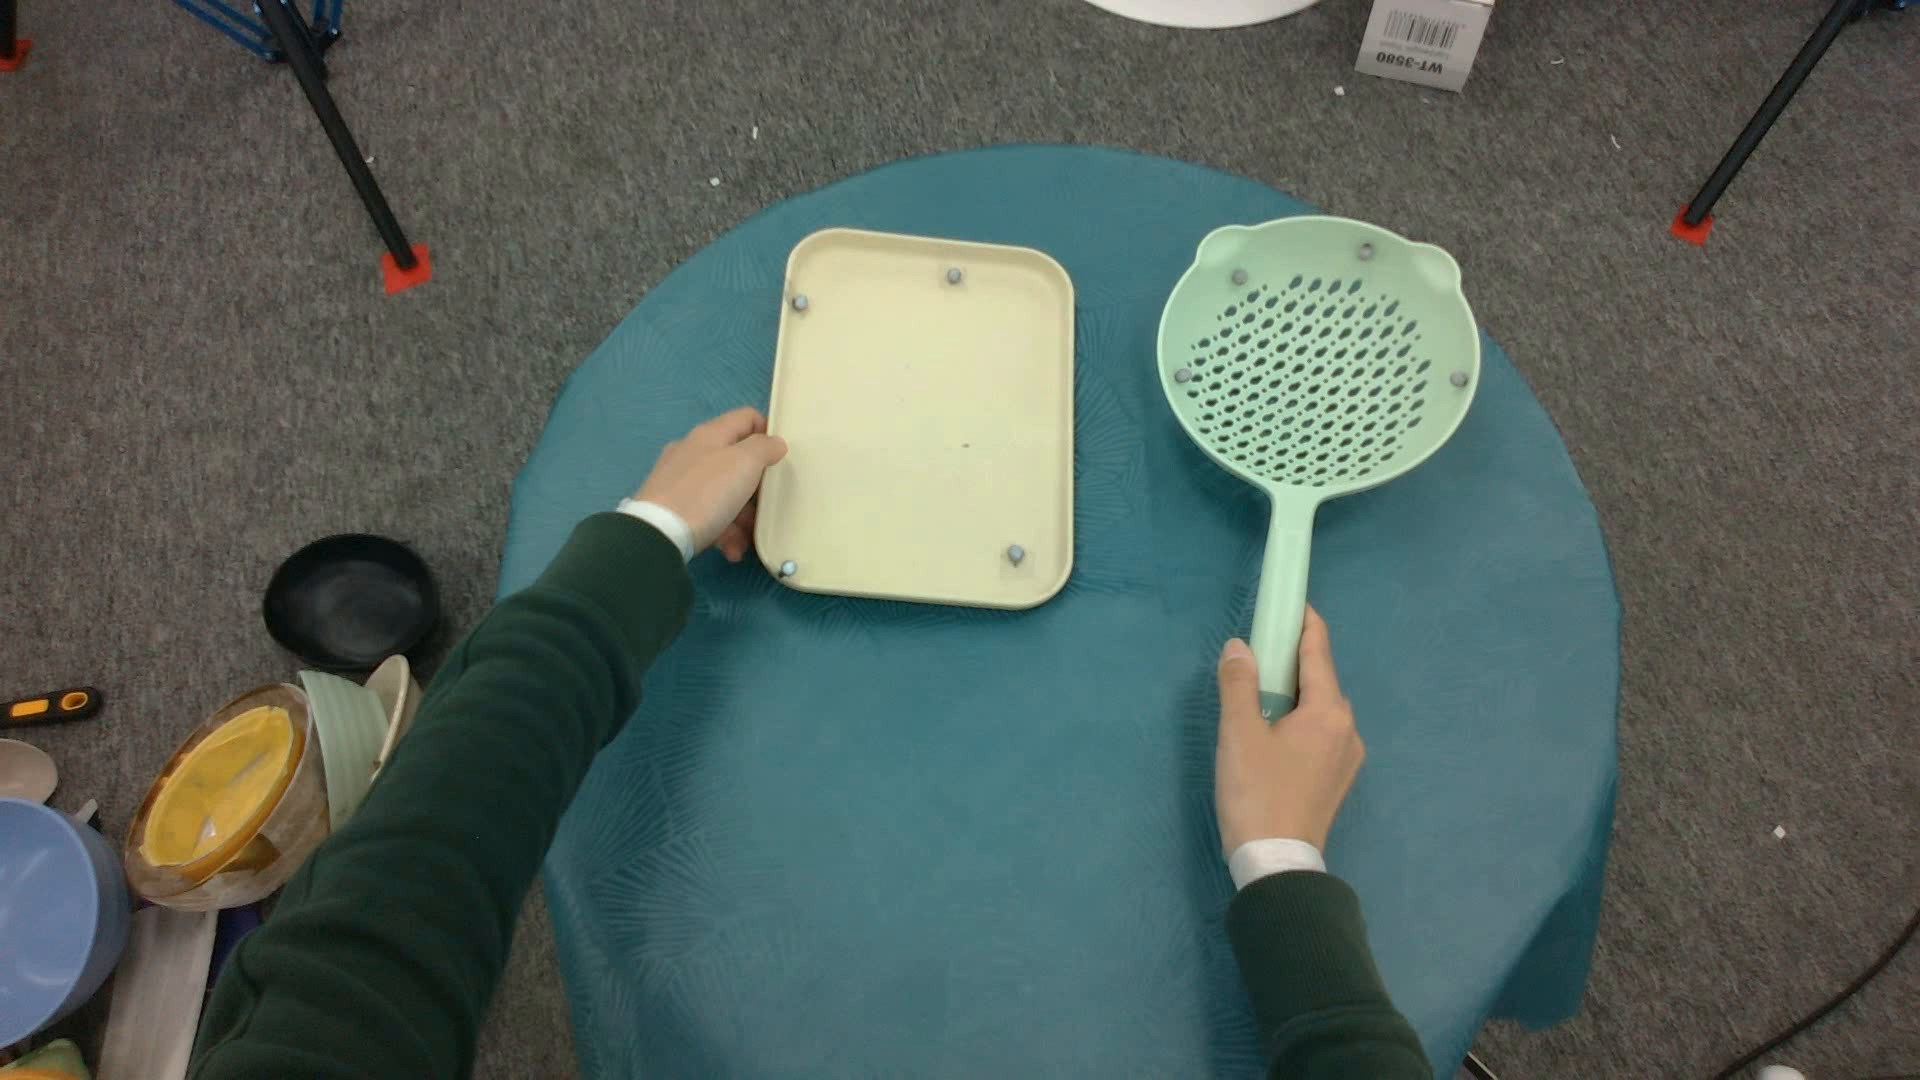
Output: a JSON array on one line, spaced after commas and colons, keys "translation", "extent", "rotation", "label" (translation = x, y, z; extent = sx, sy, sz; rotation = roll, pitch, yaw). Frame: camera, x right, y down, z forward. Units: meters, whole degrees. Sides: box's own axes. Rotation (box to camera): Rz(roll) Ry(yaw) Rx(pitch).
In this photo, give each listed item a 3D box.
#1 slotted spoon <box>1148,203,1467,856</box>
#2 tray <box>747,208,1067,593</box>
[{"translation": [0.168, -0.018, 0.720], "extent": [0.169, 0.075, 0.360], "rotation": [9, 61, 10], "label": "slotted spoon"}, {"translation": [-0.025, -0.082, 0.771], "extent": [0.171, 0.017, 0.240], "rotation": [5, 63, -6], "label": "tray"}]
